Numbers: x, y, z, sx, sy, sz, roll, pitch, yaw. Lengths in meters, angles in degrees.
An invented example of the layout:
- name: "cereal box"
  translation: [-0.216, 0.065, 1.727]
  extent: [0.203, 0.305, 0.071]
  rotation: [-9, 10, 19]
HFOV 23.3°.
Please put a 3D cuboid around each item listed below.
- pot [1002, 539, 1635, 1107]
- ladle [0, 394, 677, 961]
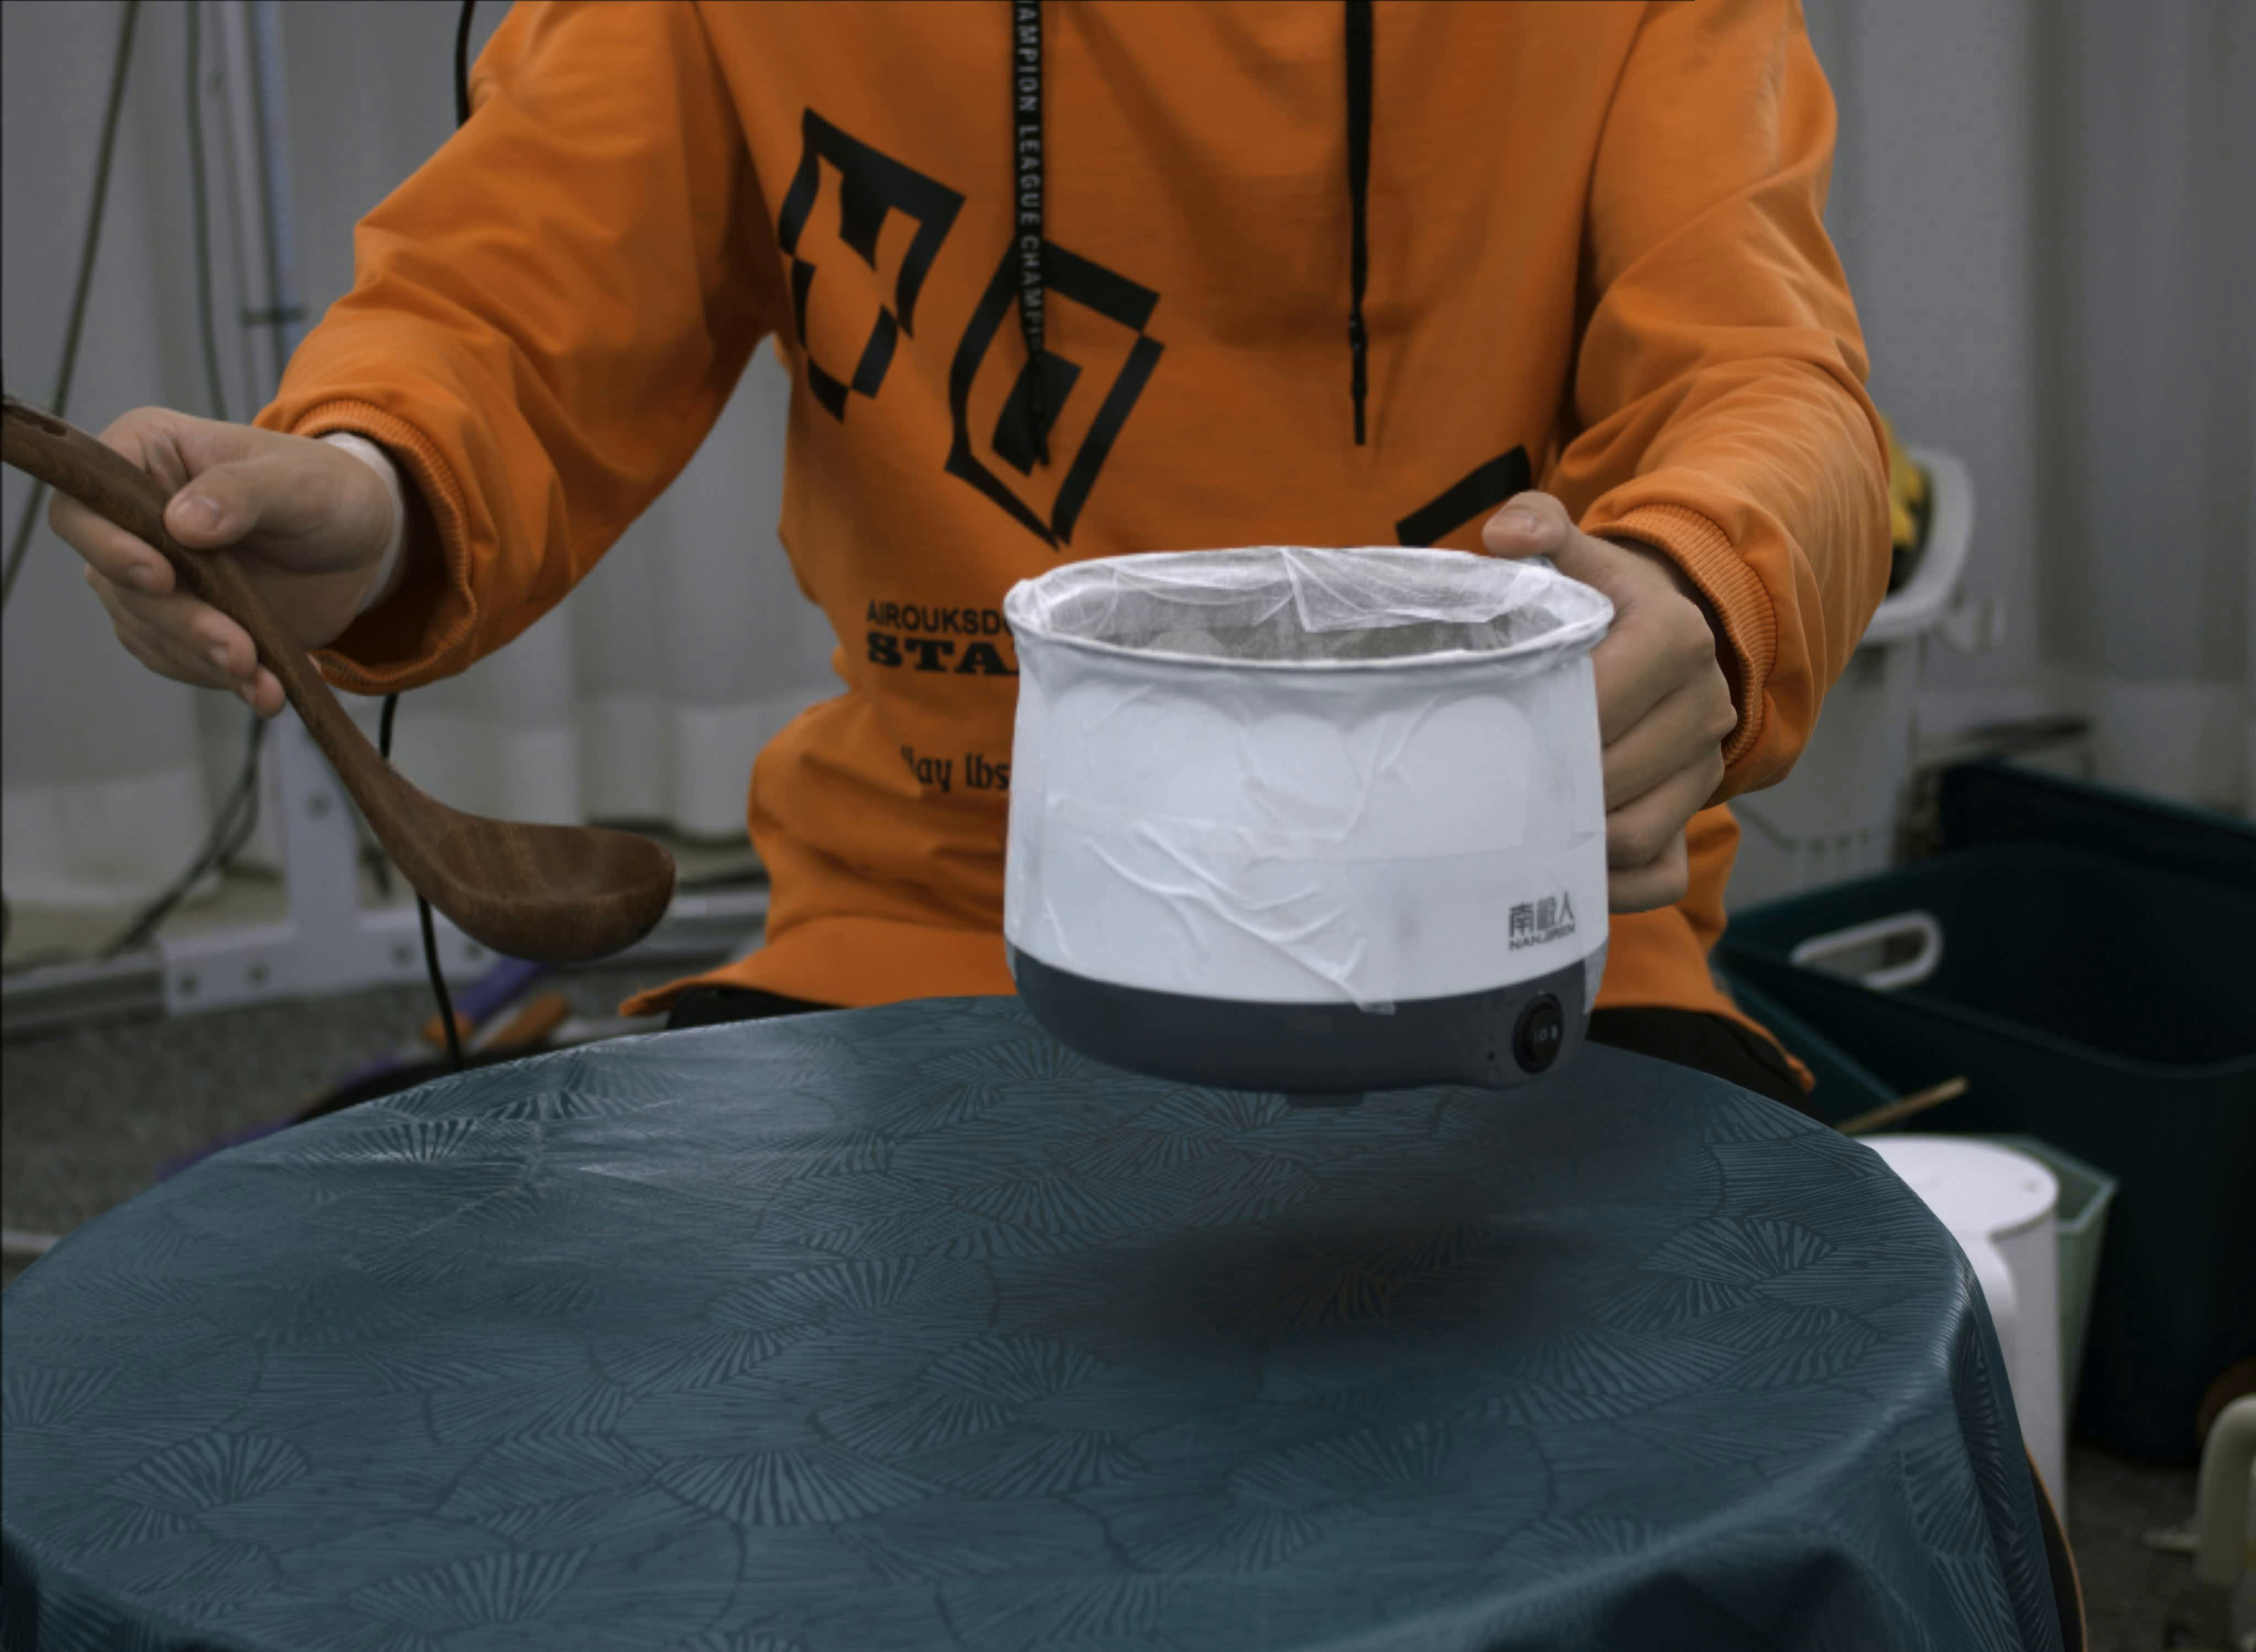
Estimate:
- name: "pot"
  translation: [0.069, -0.008, 1.611]
  extent: [0.179, 0.136, 0.233]
  rotation: [12, 17, 39]
- name: "ladle"
  translation: [-0.244, -0.053, 1.668]
  extent: [0.065, 0.260, 0.077]
  rotation: [-44, -1, 18]
